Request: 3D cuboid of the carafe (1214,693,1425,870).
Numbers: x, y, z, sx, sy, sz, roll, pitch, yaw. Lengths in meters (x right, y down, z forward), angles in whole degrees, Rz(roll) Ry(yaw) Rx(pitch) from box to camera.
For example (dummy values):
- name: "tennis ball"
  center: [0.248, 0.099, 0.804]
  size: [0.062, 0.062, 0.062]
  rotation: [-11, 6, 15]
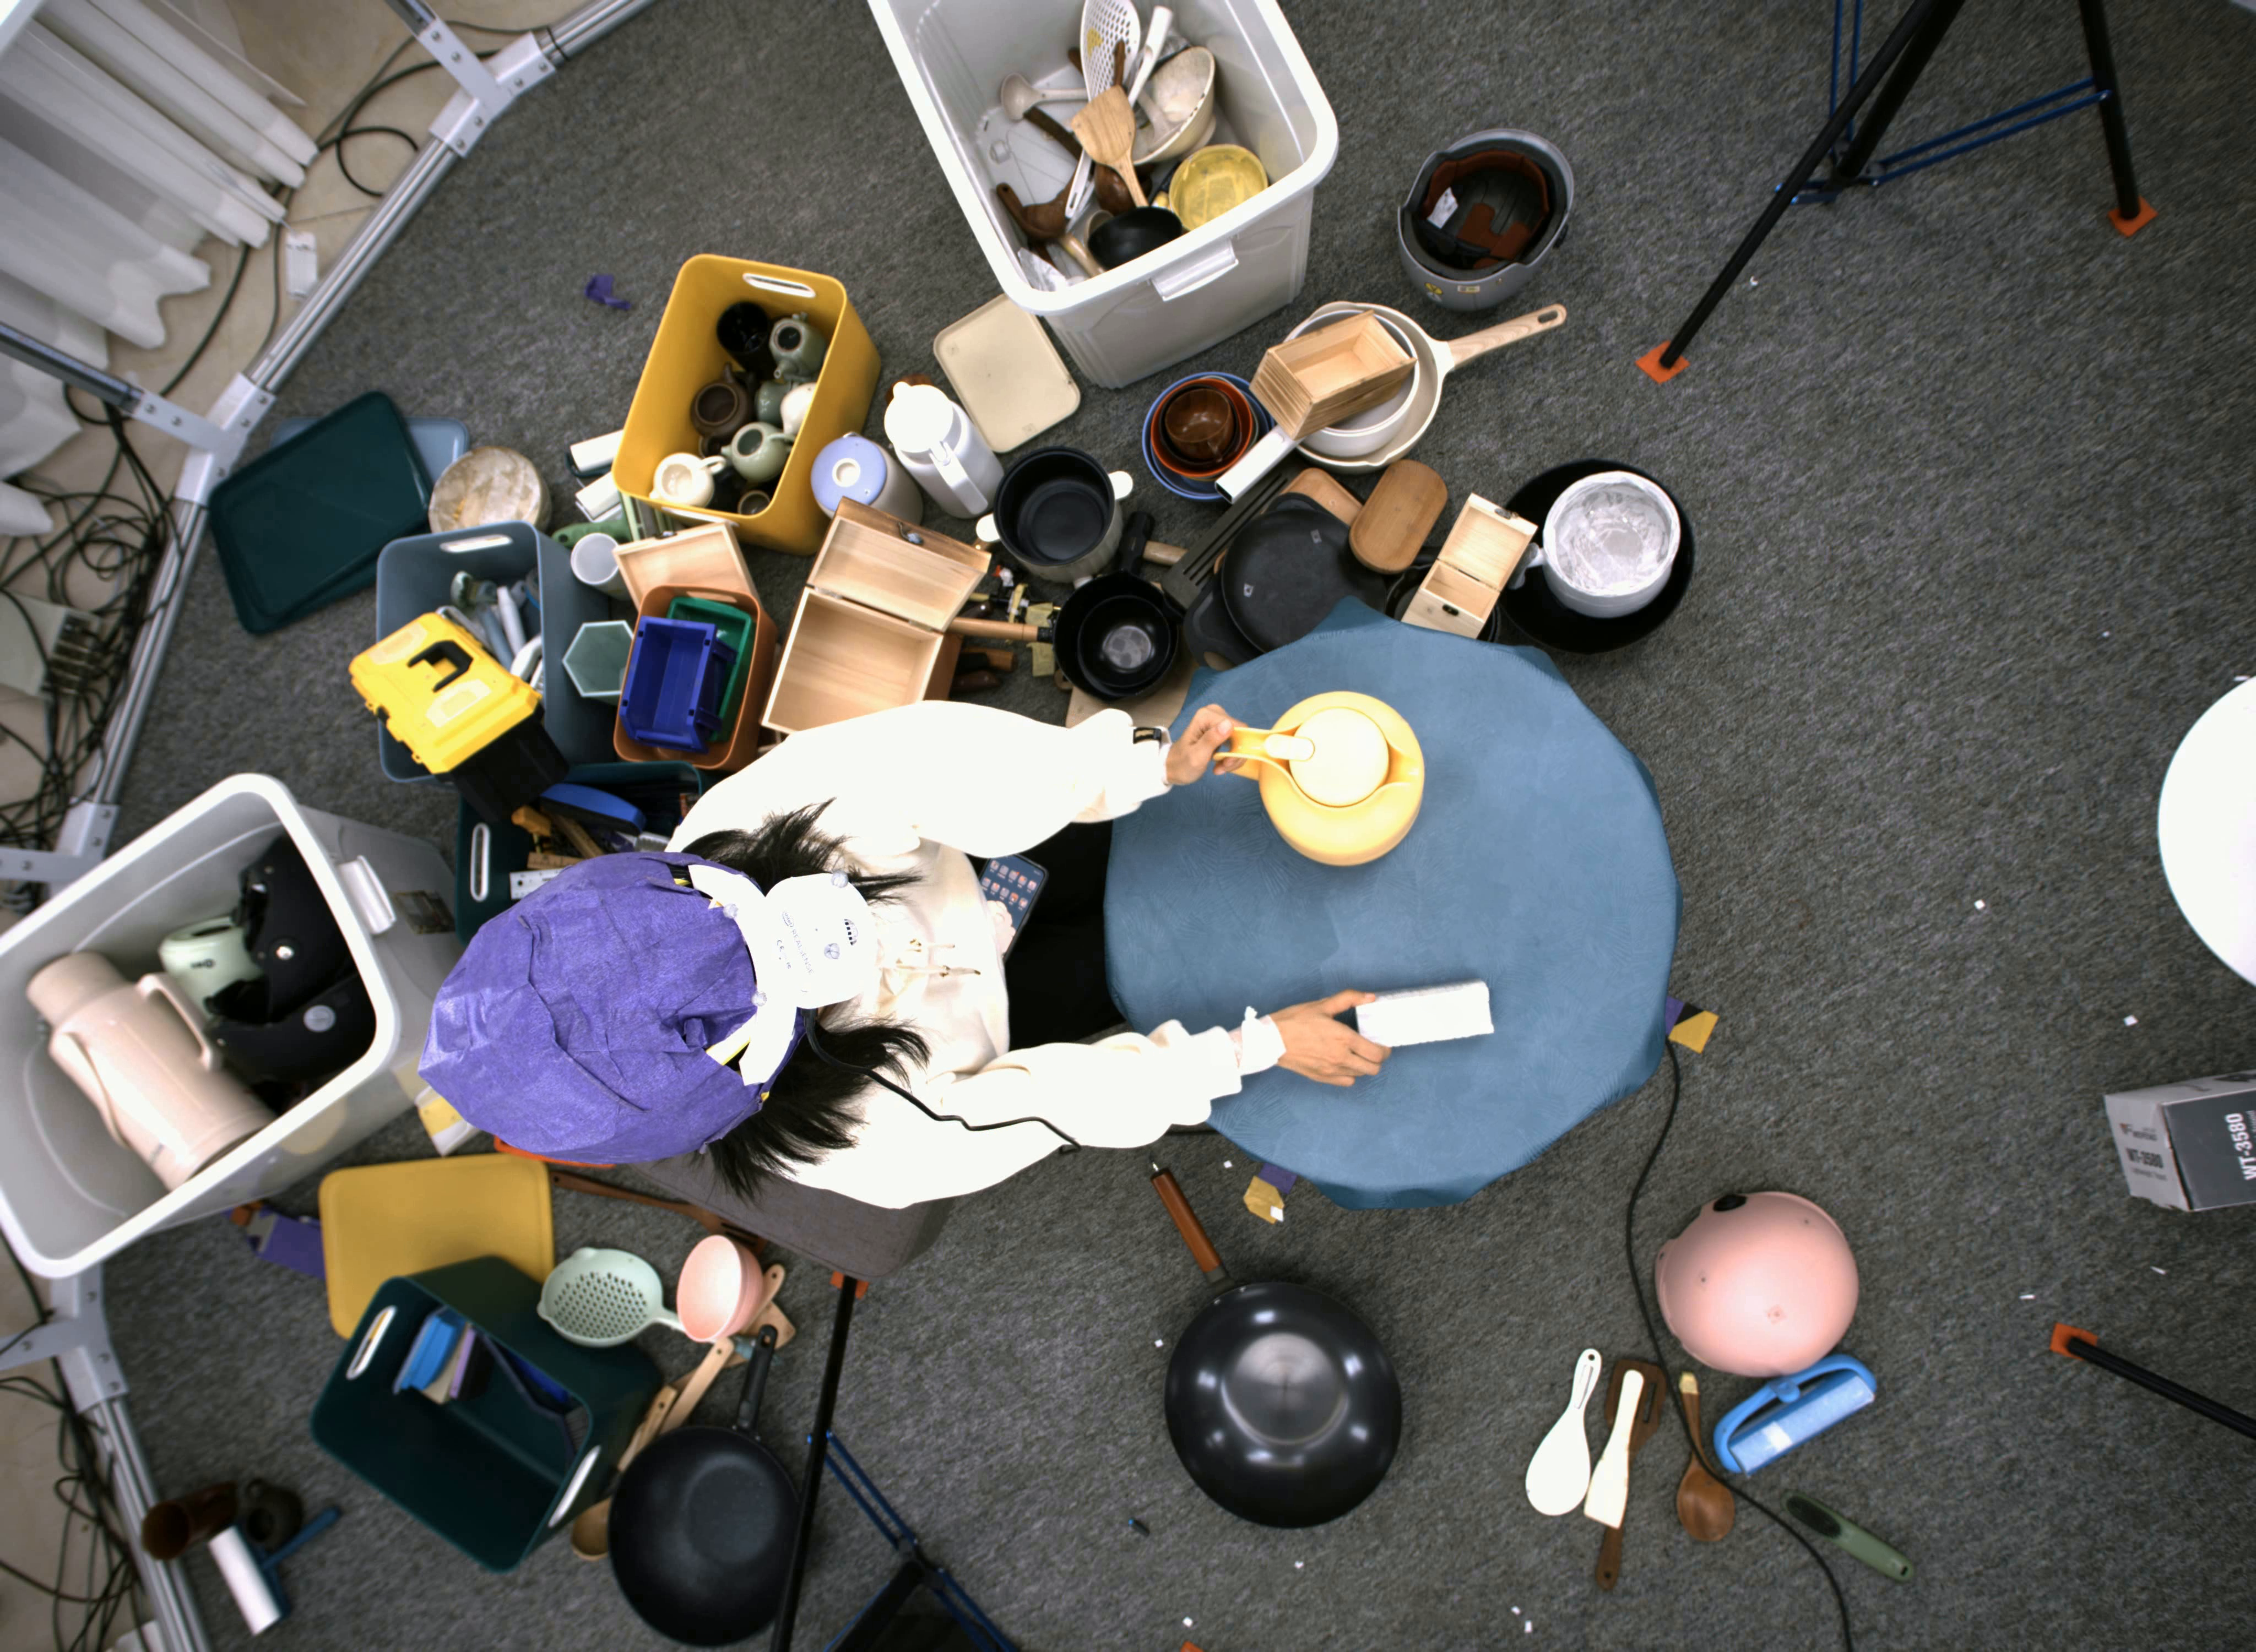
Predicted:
- name: "carafe"
  center: [0.189, -0.054, 1.348]
  size: [0.203, 0.261, 0.162]
  rotation: [13, 84, 9]

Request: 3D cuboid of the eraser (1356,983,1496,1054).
- name: "eraser"
  center: [0.305, 0.195, 1.421]
  size: [0.135, 0.046, 0.050]
  rotation: [-11, 97, 9]
